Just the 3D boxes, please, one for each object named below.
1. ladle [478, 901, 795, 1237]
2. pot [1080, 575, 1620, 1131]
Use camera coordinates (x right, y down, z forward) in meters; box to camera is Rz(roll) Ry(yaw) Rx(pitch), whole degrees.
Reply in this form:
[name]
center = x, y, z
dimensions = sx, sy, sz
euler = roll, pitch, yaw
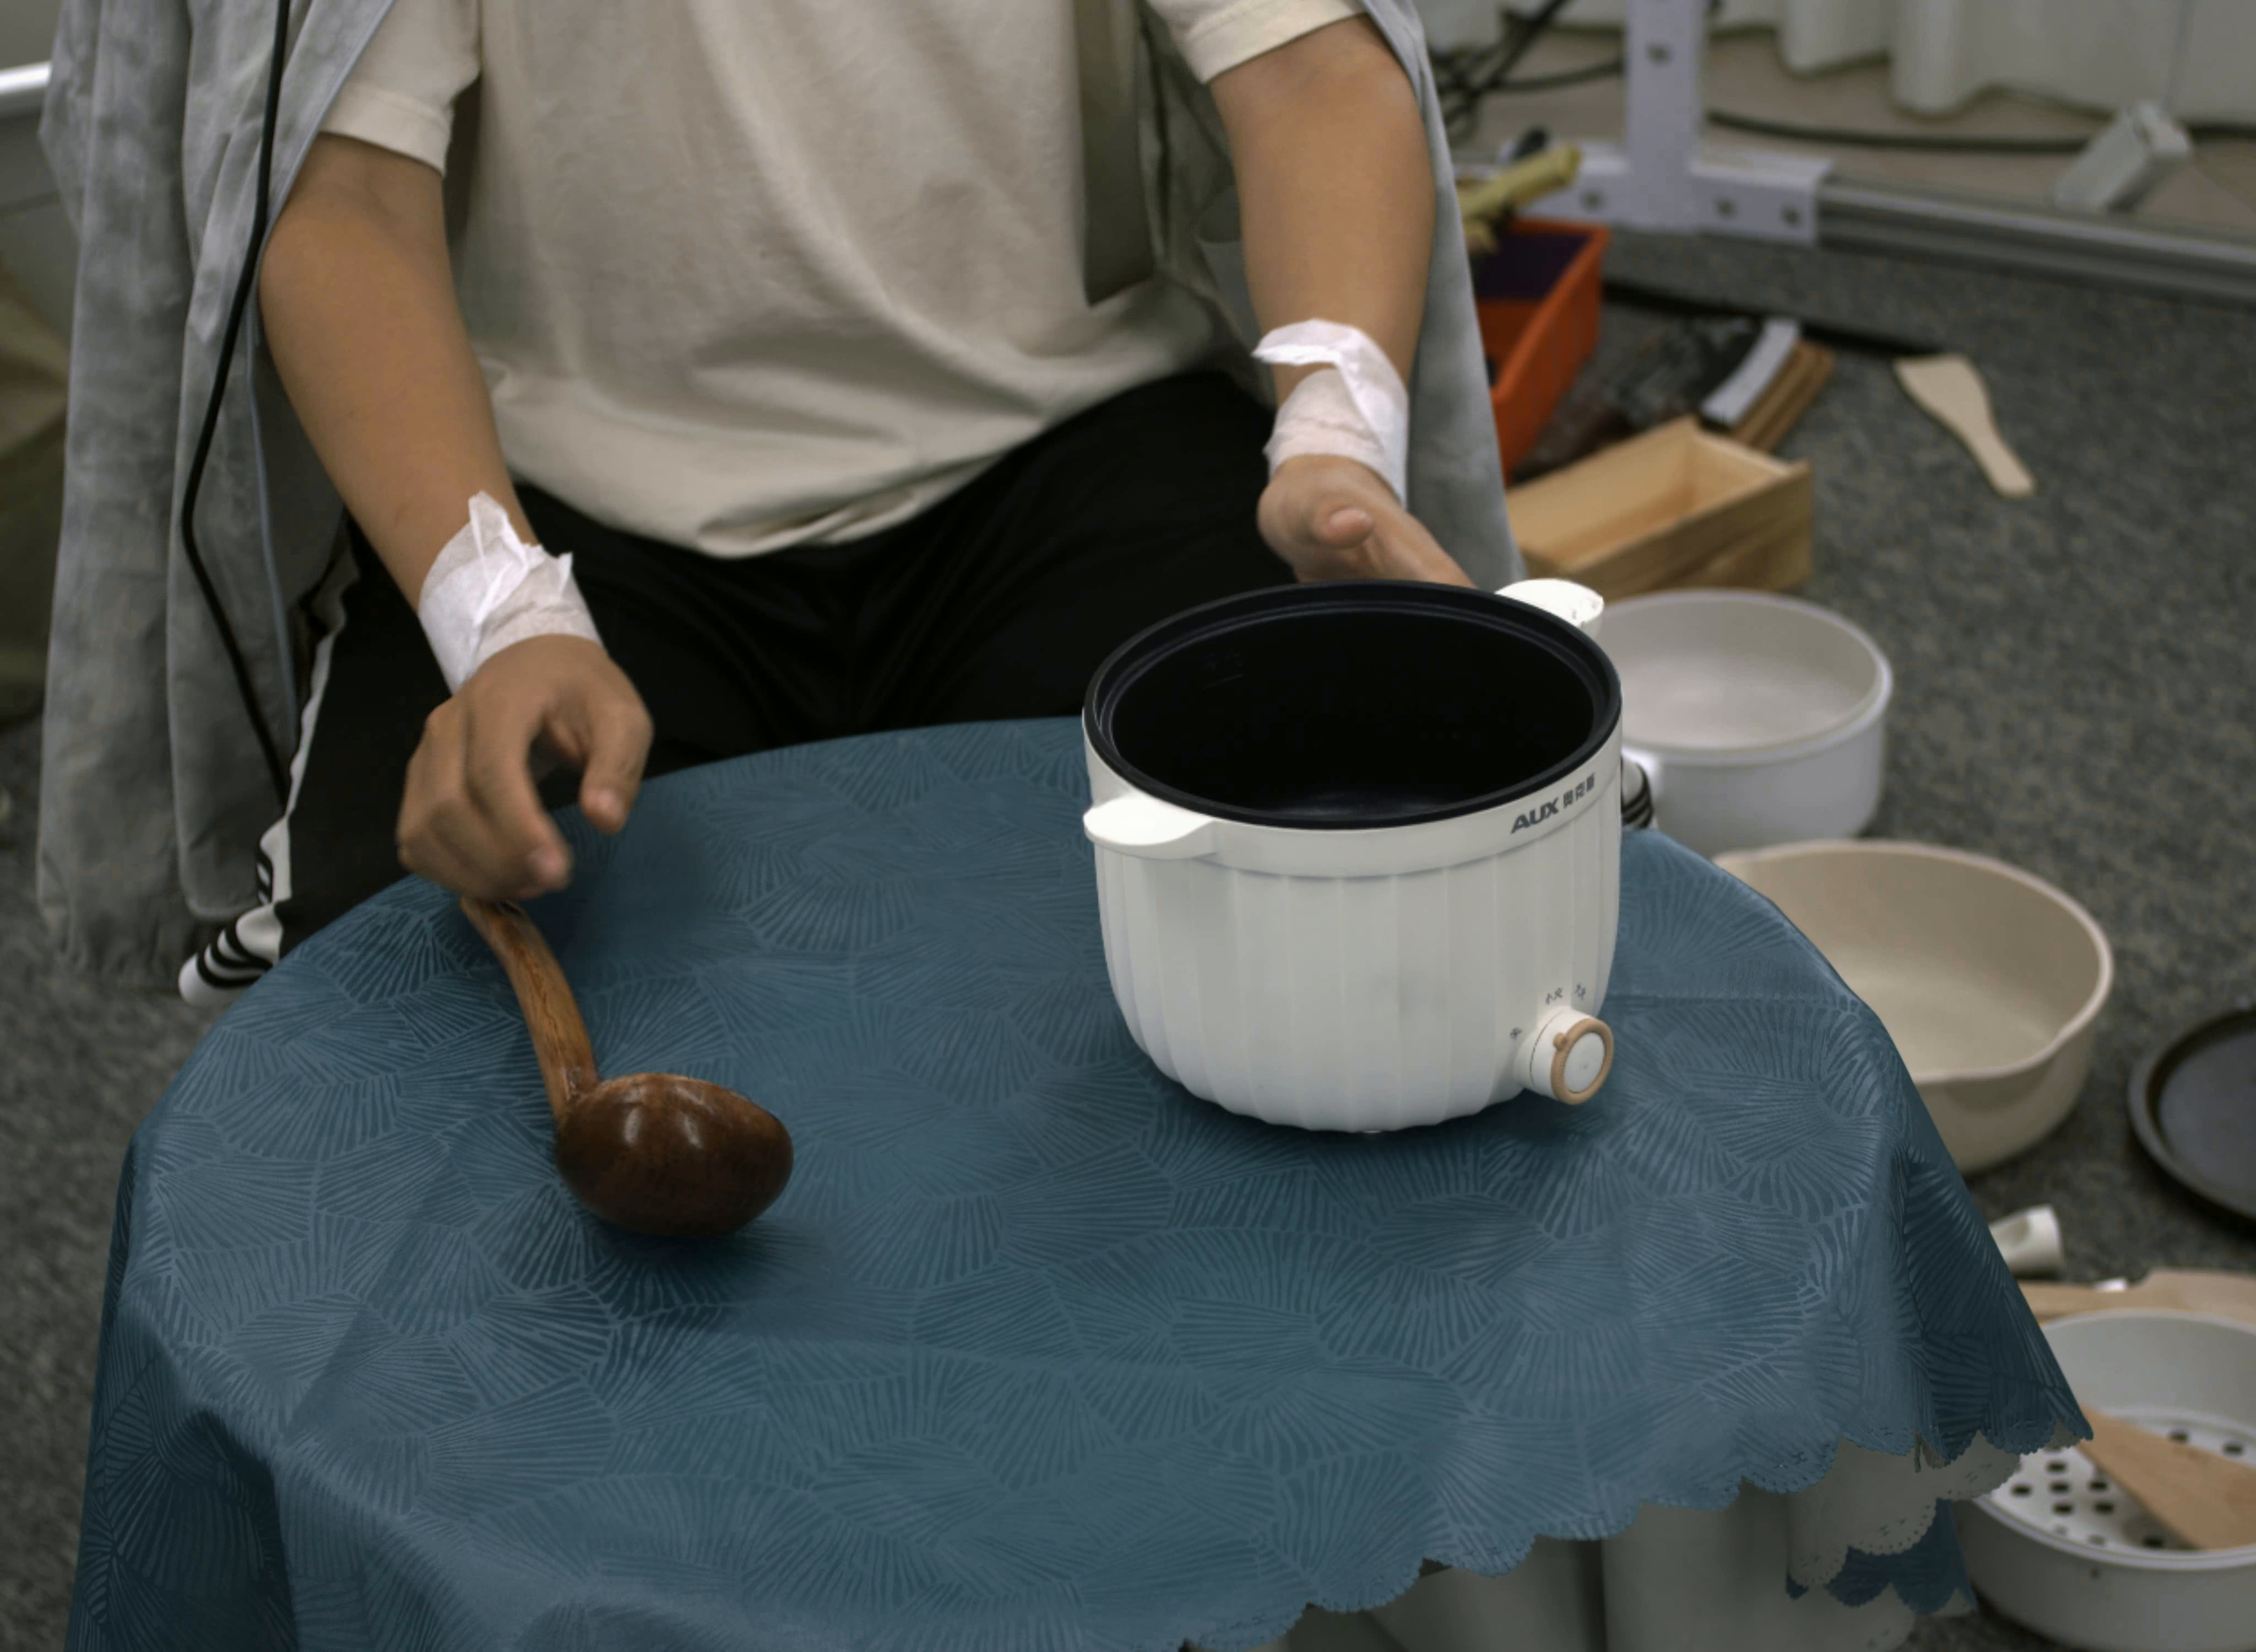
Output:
[ladle]
center = -0.177, 0.063, 1.917
dimensions = 0.081, 0.076, 0.277
euler = 32, 13, -26
[pot]
center = 0.083, 0.015, 1.909
dimensions = 0.190, 0.141, 0.243
euler = 17, 34, 41
